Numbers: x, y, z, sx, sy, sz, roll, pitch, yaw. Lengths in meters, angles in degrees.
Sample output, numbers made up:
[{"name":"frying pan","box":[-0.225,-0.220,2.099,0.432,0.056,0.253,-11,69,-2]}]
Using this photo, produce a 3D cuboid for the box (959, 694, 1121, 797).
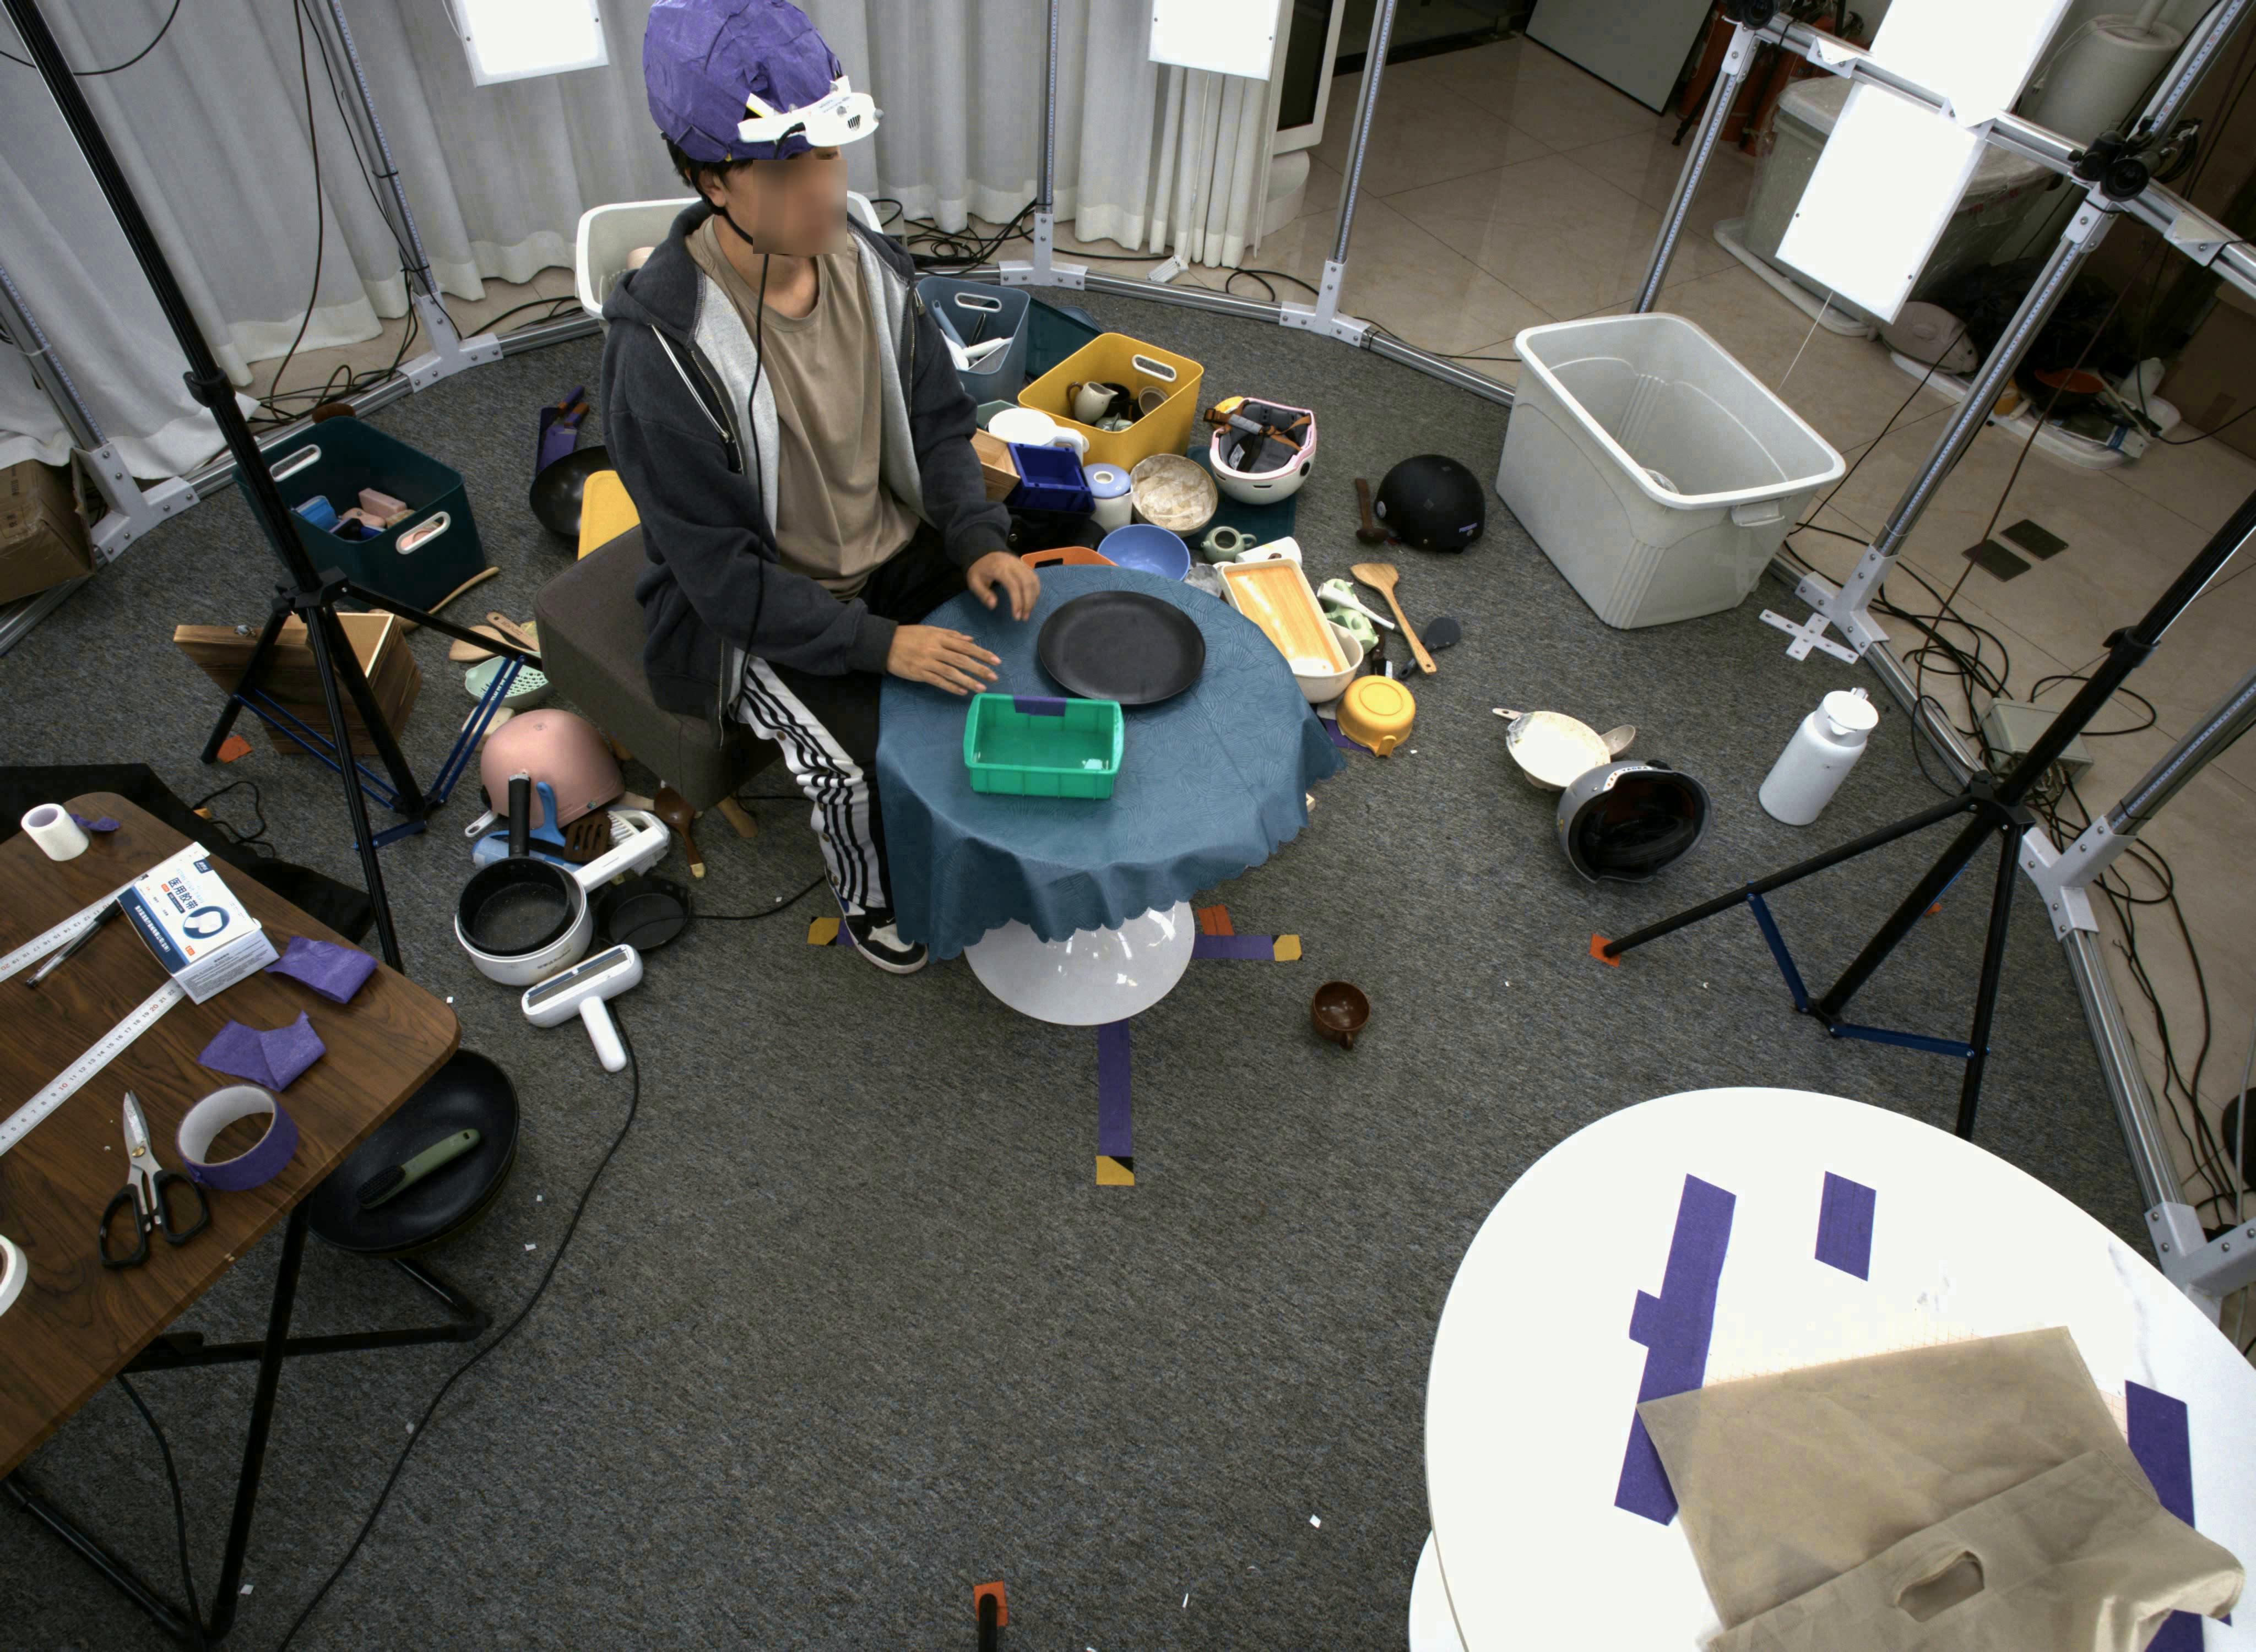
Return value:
[{"name":"box","box":[-0.115,-0.104,1.707,0.210,0.064,0.142,1,47,0]}]

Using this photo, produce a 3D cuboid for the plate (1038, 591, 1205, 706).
[{"name":"plate","box":[-0.009,-0.257,1.874,0.244,0.023,0.250,2,49,-2]}]
